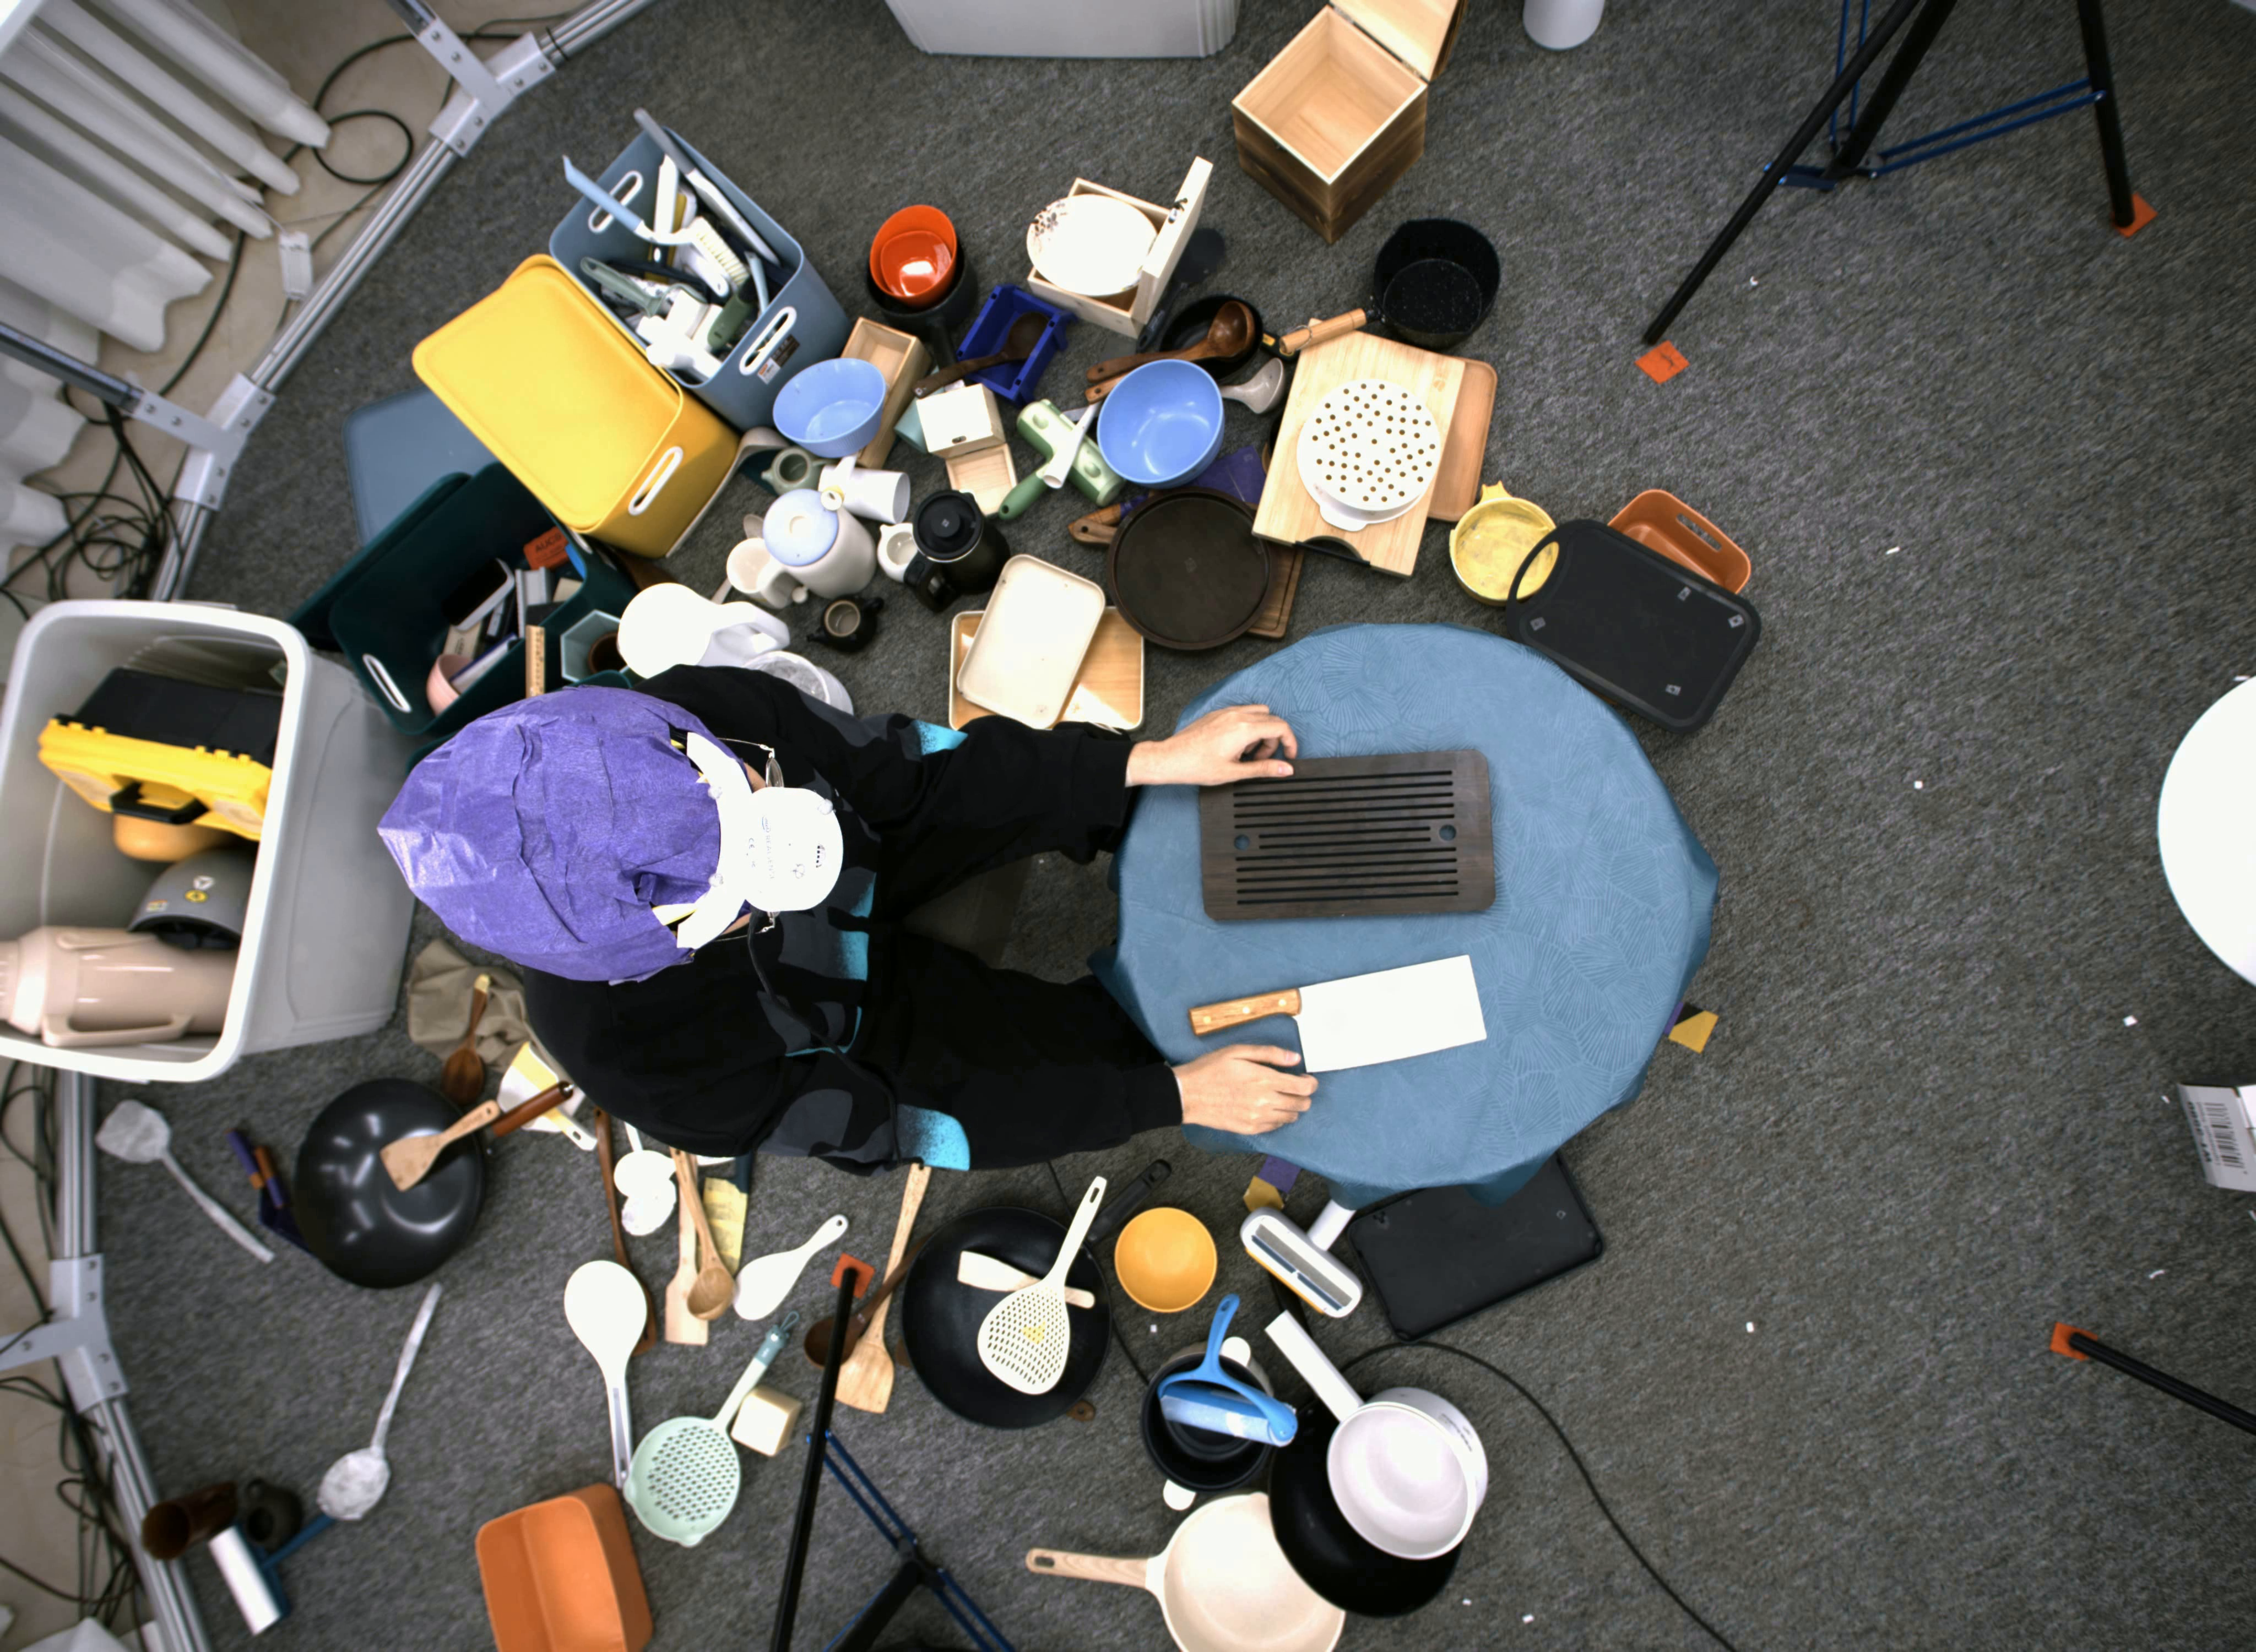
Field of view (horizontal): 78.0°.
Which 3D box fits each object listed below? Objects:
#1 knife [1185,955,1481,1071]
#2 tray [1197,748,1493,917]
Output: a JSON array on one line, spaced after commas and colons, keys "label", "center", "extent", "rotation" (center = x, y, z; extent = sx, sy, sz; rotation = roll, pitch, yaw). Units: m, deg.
[{"label": "knife", "center": [0.216, 0.205, 1.455], "extent": [0.307, 0.021, 0.092], "rotation": [-12, 86, 7]}, {"label": "tray", "center": [0.227, 0.007, 1.462], "extent": [0.307, 0.018, 0.169], "rotation": [-2, 87, 10]}]
